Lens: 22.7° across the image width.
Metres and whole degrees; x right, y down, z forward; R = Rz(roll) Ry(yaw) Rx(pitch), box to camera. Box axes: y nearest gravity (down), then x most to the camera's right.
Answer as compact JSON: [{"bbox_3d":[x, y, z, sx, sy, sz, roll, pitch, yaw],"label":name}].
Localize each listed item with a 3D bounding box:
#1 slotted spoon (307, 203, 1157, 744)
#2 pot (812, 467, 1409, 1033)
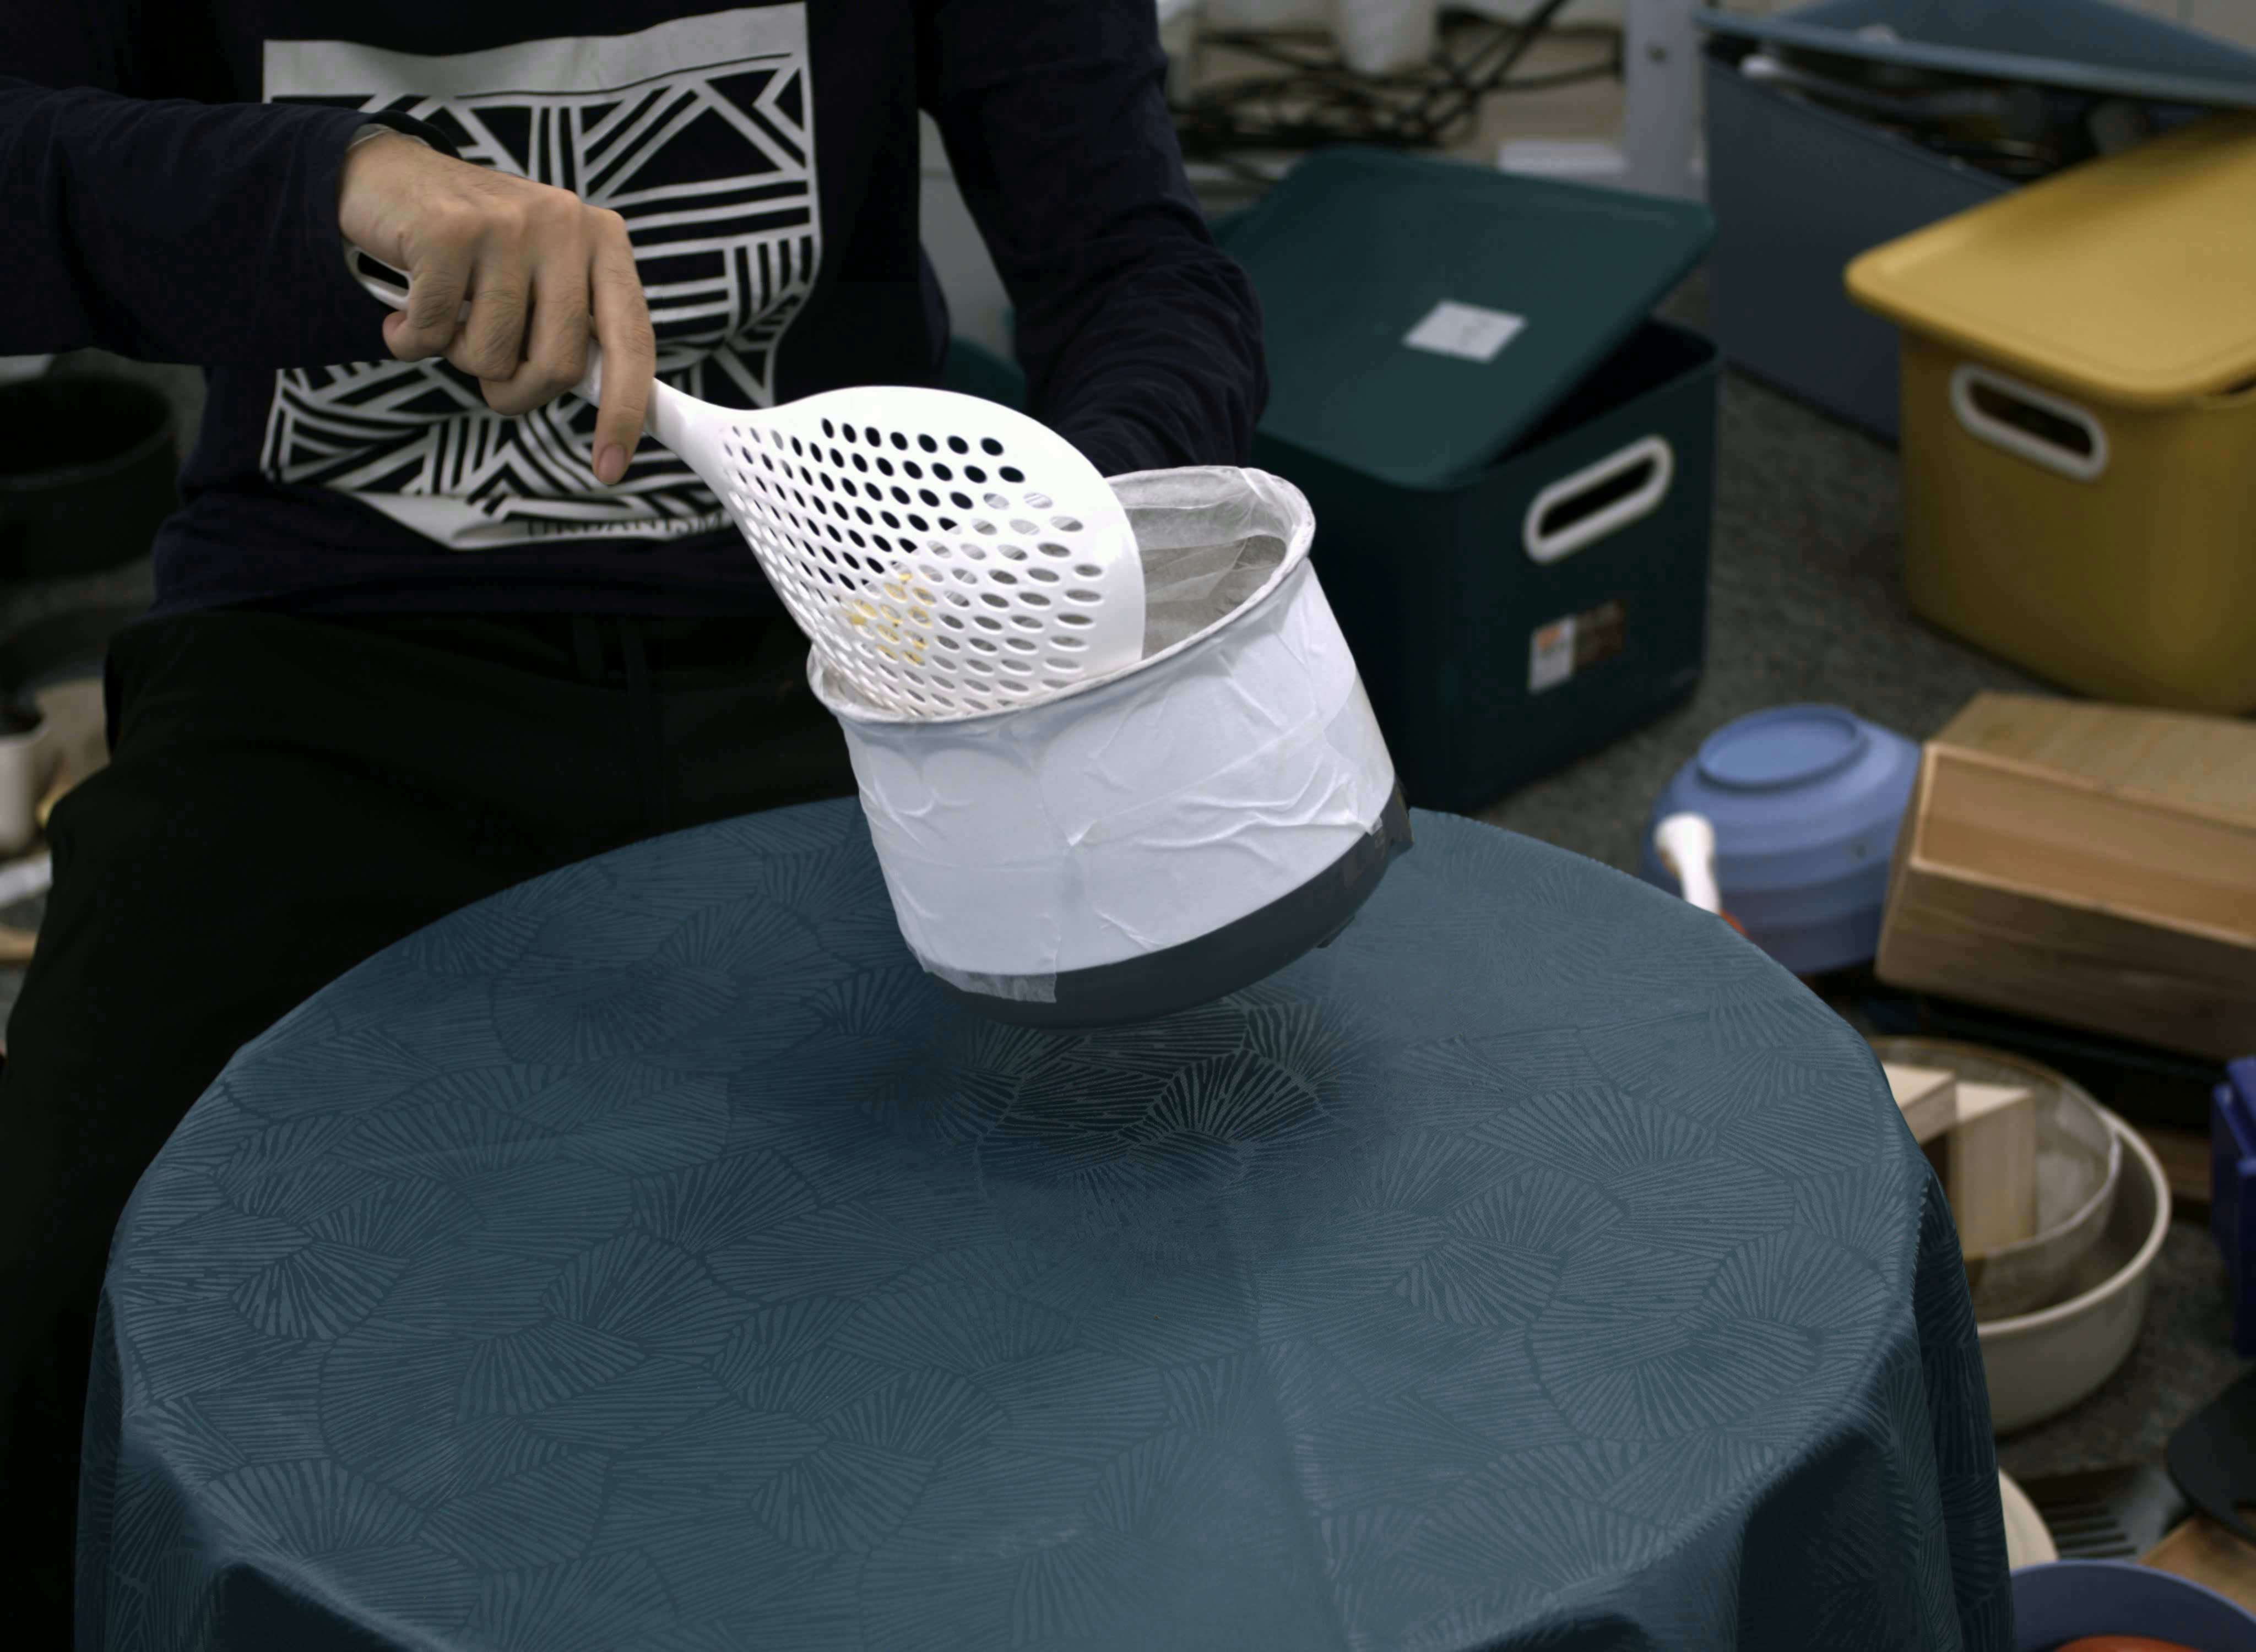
[{"bbox_3d":[-0.137,-0.125,1.862,0.348,0.135,0.051,32,36,29],"label":"slotted spoon"},{"bbox_3d":[-0.010,-0.035,1.911,0.178,0.135,0.236,-18,24,-7],"label":"pot"}]
